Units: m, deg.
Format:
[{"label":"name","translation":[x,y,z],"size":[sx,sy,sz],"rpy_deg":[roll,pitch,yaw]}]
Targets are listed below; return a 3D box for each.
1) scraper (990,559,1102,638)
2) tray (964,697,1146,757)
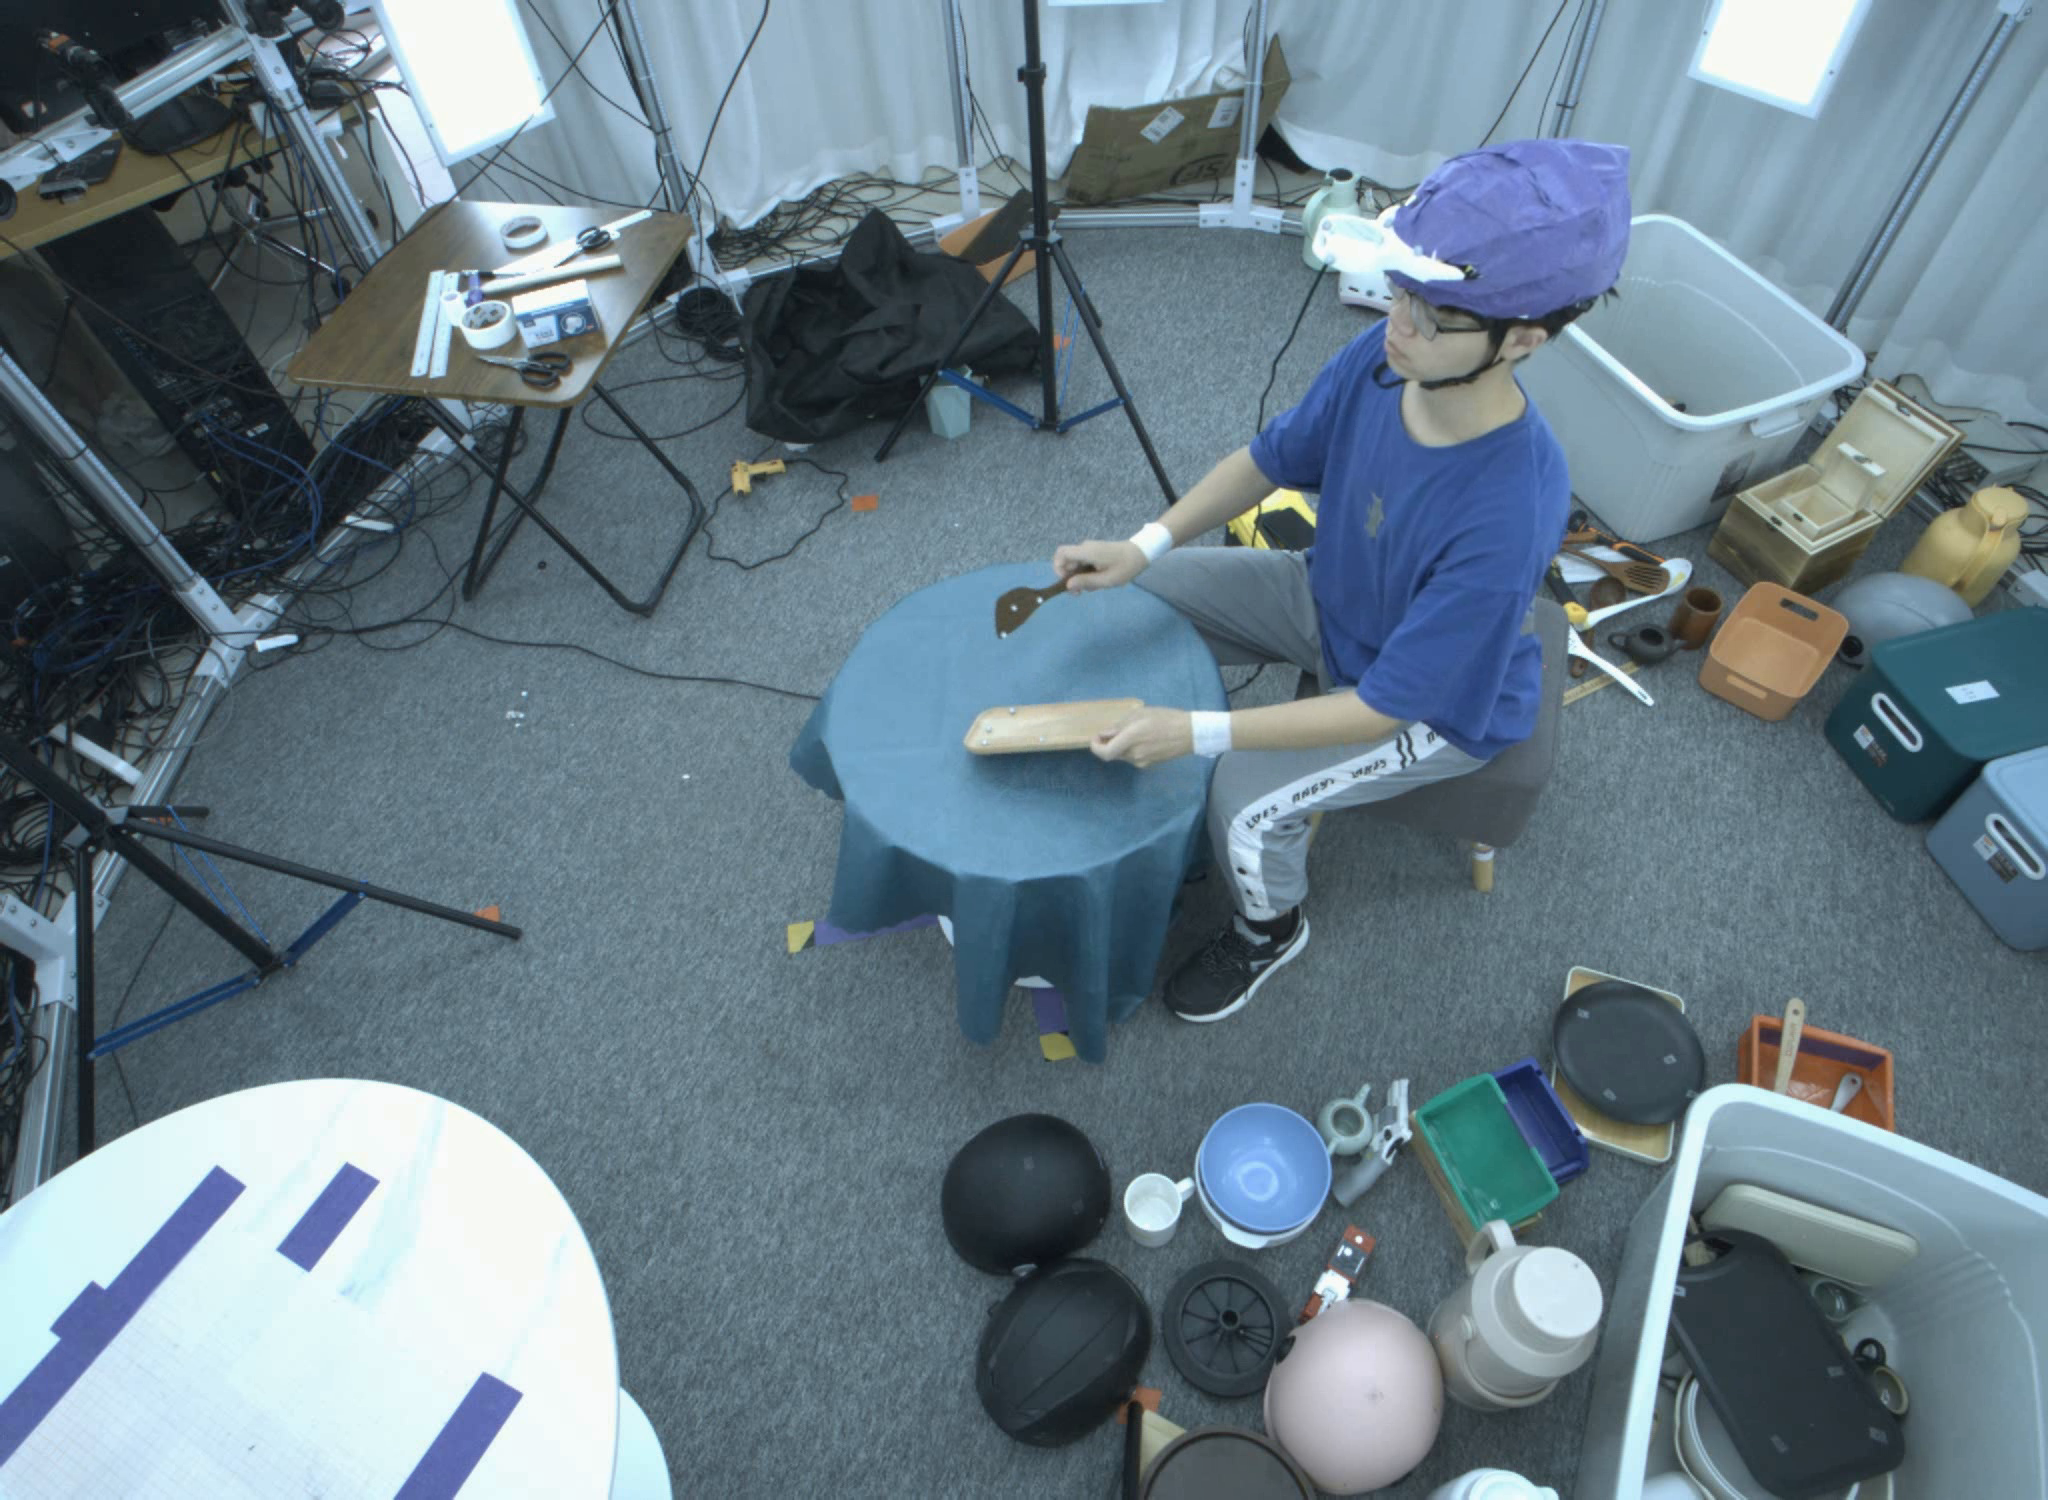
[{"label":"scraper","translation":[0.033,-0.232,1.788],"size":[0.214,0.076,0.010],"rpy_deg":[-29,48,-28]},{"label":"tray","translation":[0.045,-0.032,1.734],"size":[0.248,0.023,0.130],"rpy_deg":[-3,32,17]}]
